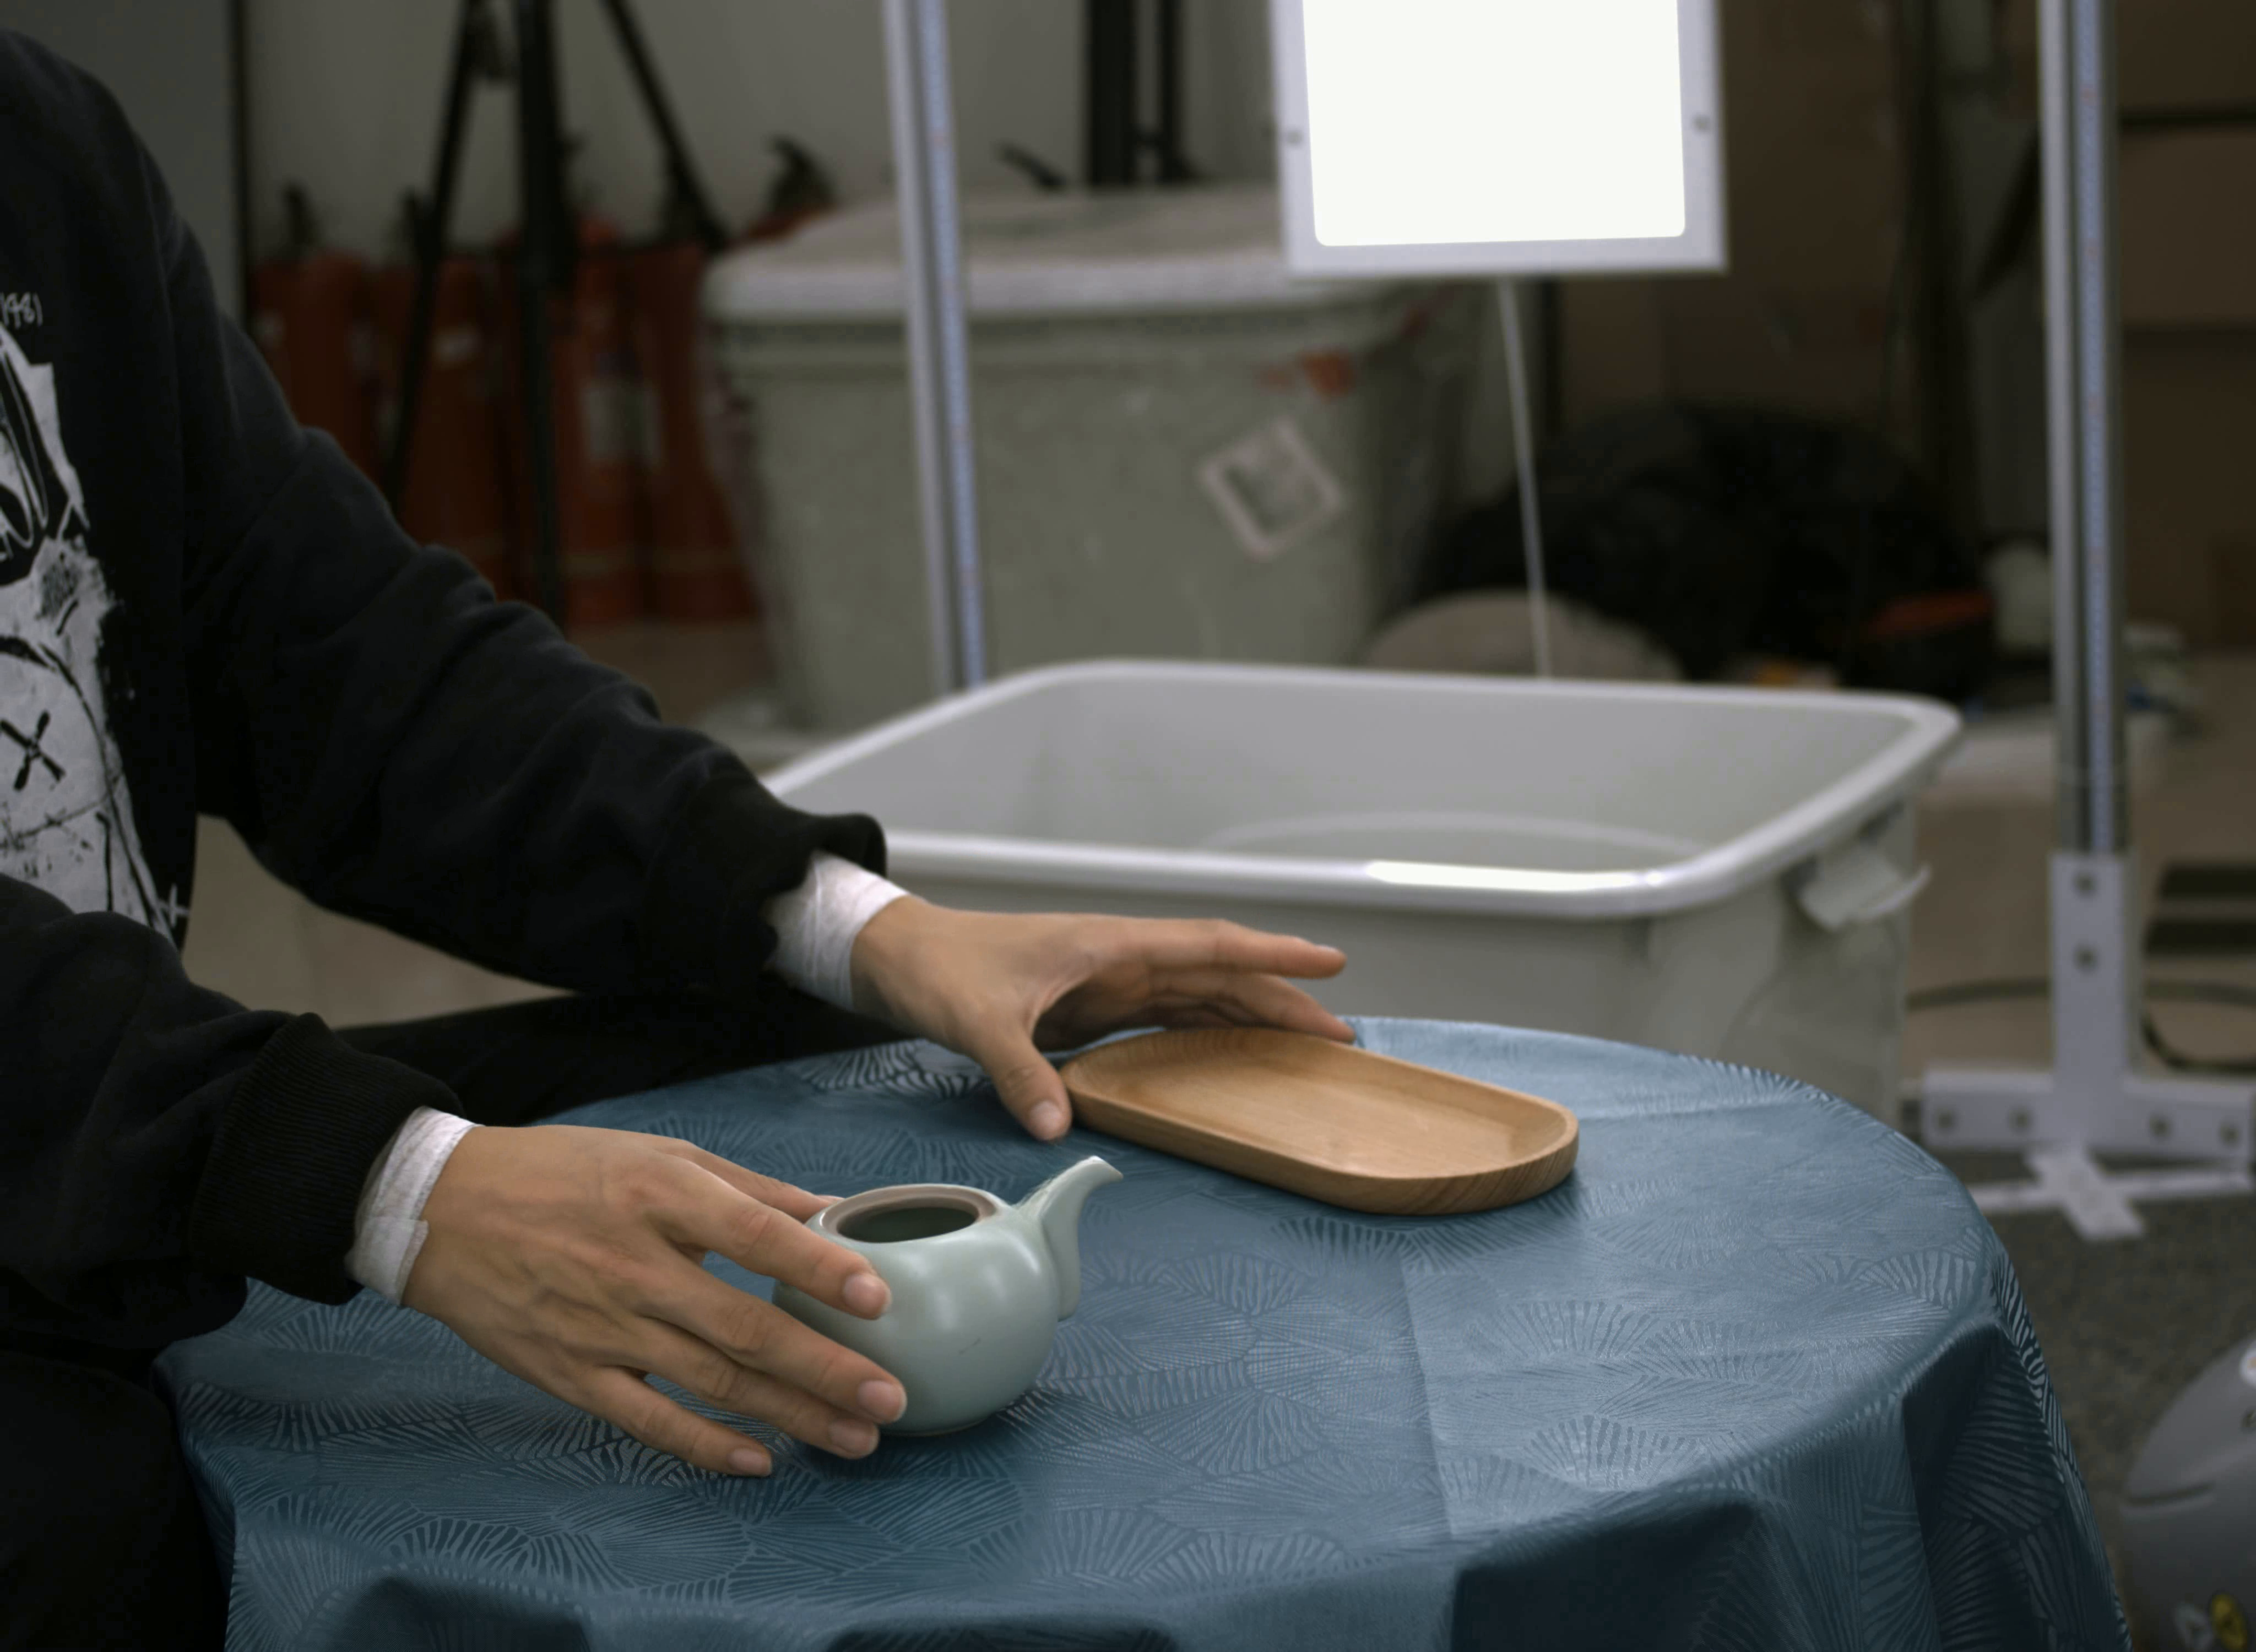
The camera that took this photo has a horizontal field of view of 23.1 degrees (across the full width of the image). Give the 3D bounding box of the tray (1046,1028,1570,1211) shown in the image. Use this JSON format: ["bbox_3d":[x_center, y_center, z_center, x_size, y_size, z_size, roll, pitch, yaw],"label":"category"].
[{"bbox_3d":[0.062,0.102,1.941,0.099,0.020,0.236,-13,14,-35],"label":"tray"}]

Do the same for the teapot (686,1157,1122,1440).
[{"bbox_3d":[-0.066,0.147,1.690,0.141,0.075,0.089,-8,14,-18],"label":"teapot"}]
